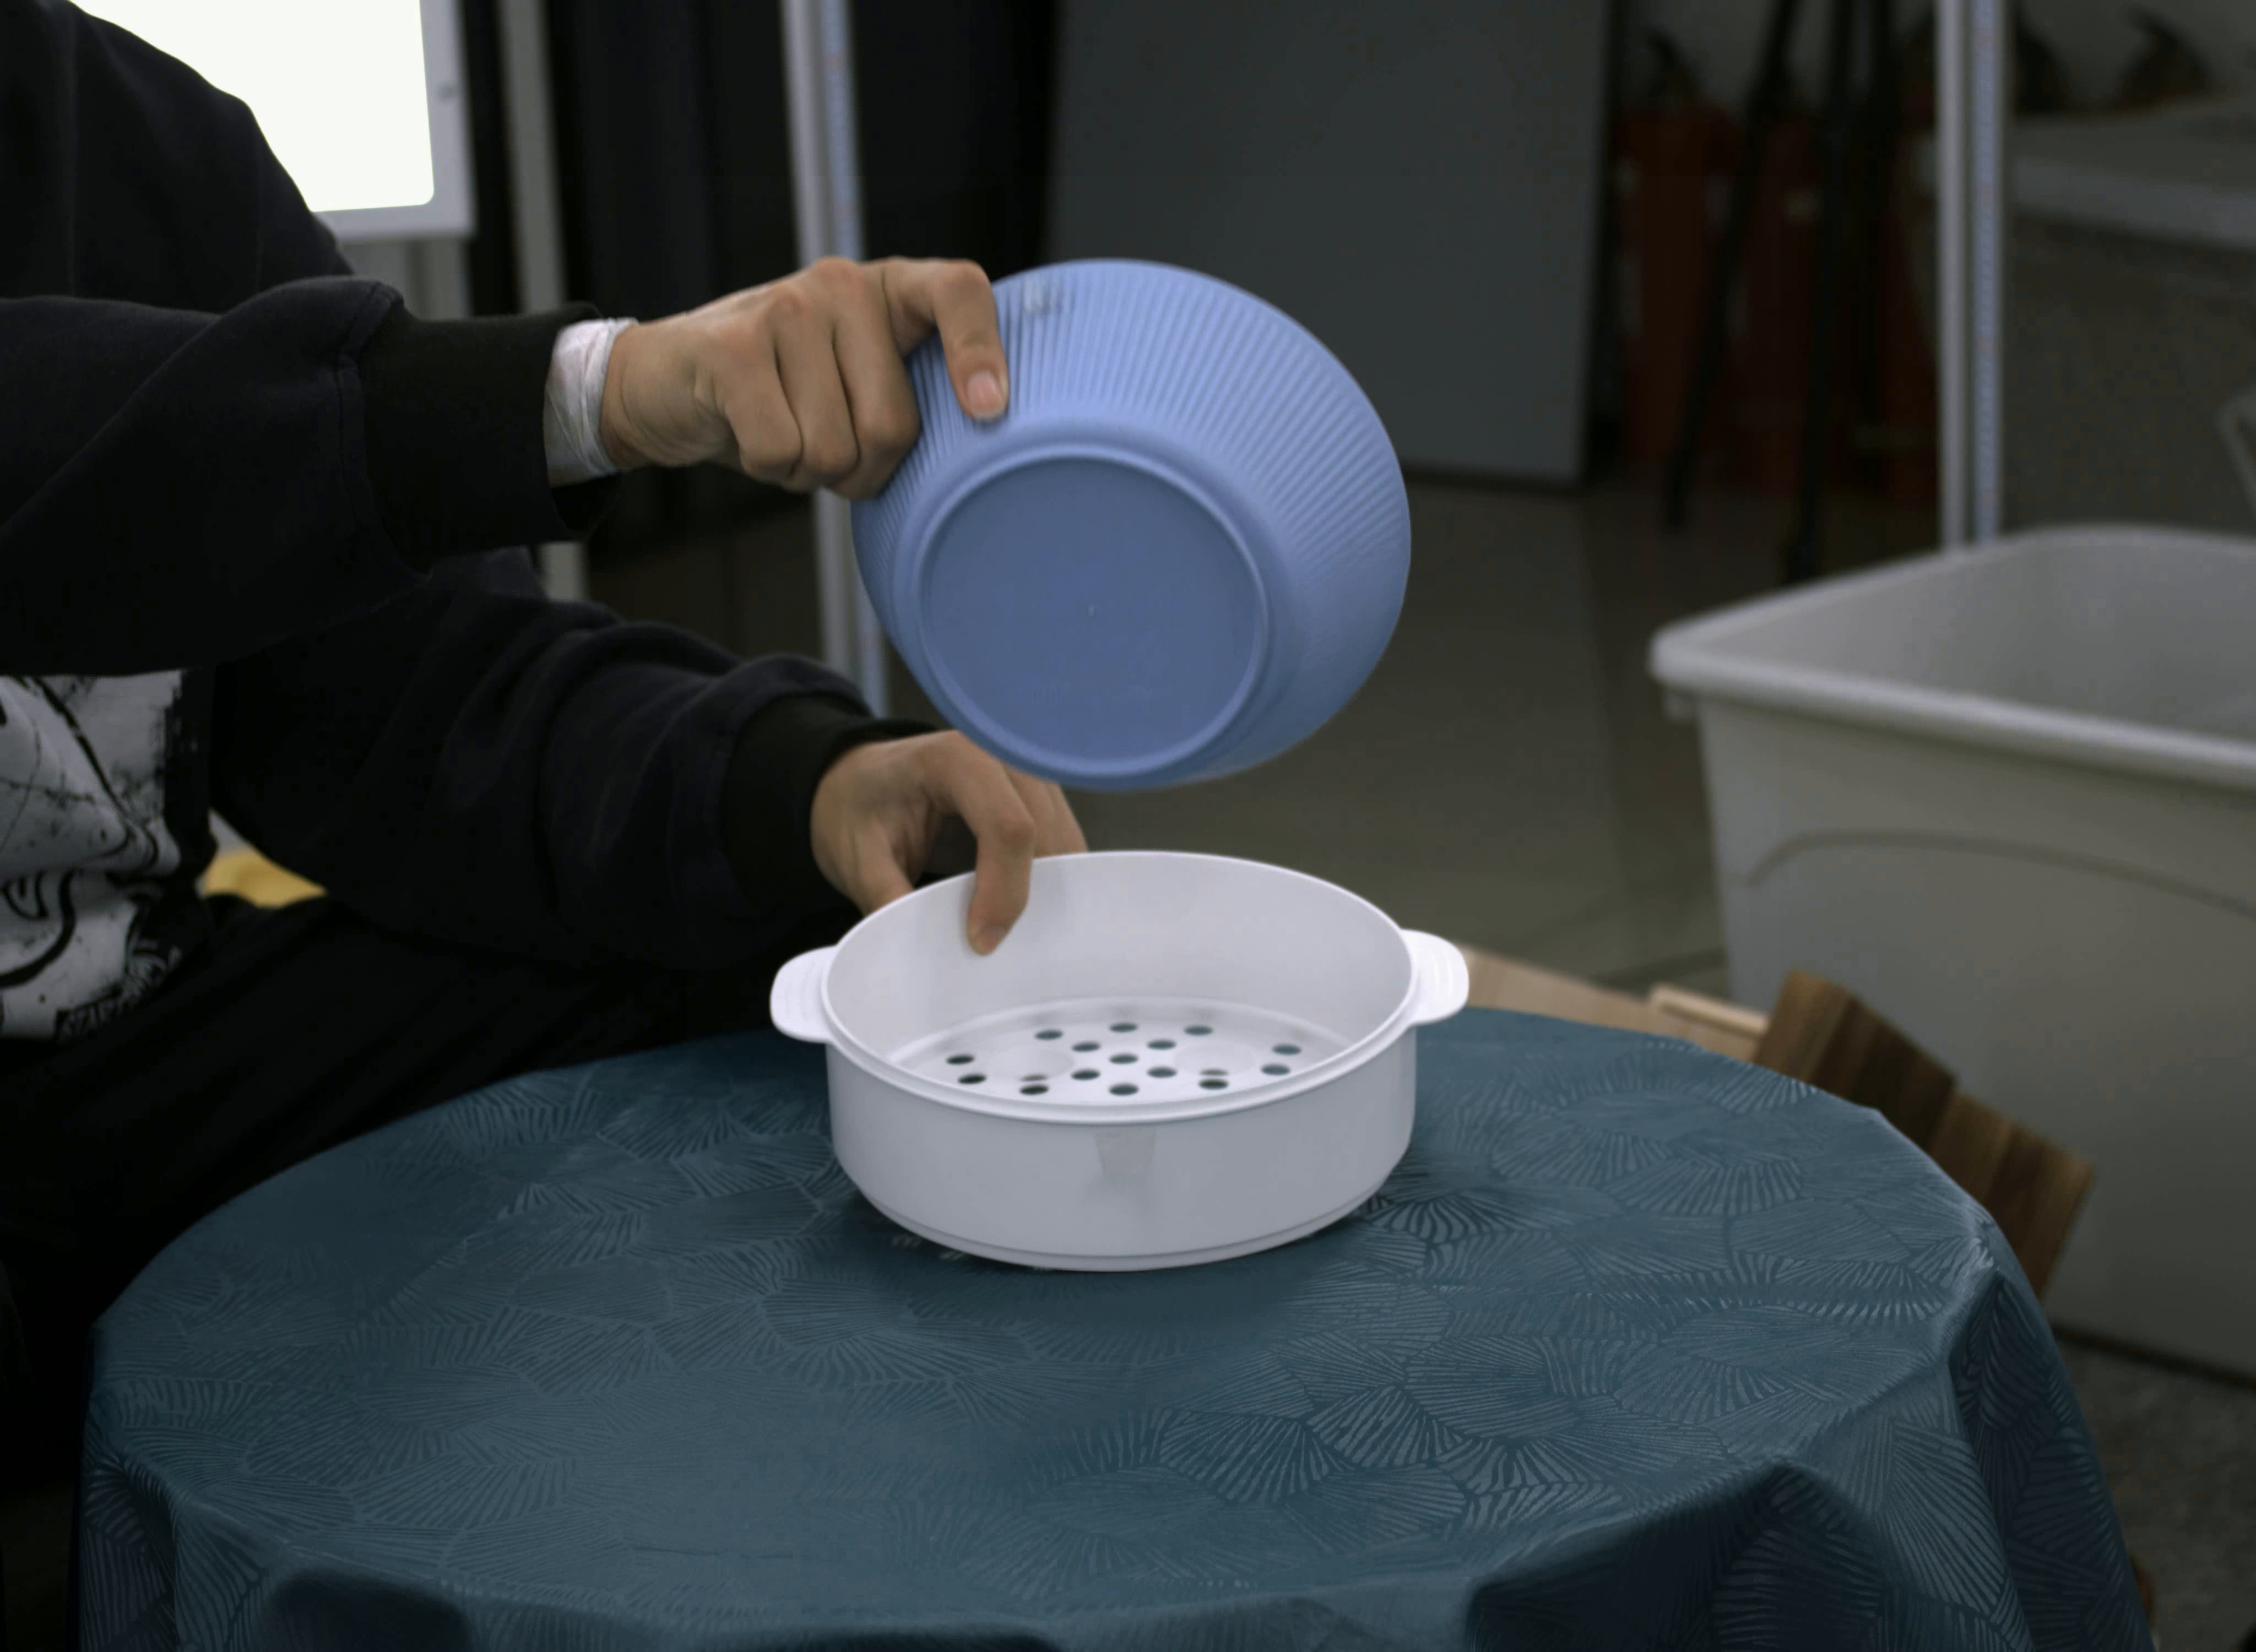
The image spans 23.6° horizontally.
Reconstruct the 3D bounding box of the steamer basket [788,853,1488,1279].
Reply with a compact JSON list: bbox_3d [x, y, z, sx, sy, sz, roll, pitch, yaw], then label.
[{"bbox_3d":[0.003,0.077,1.765,0.227,0.070,0.202,0,23,0],"label":"steamer basket"}]

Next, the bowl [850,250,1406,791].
[{"bbox_3d":[-0.007,-0.078,1.624,0.175,0.177,0.070,0,26,15],"label":"bowl"}]
